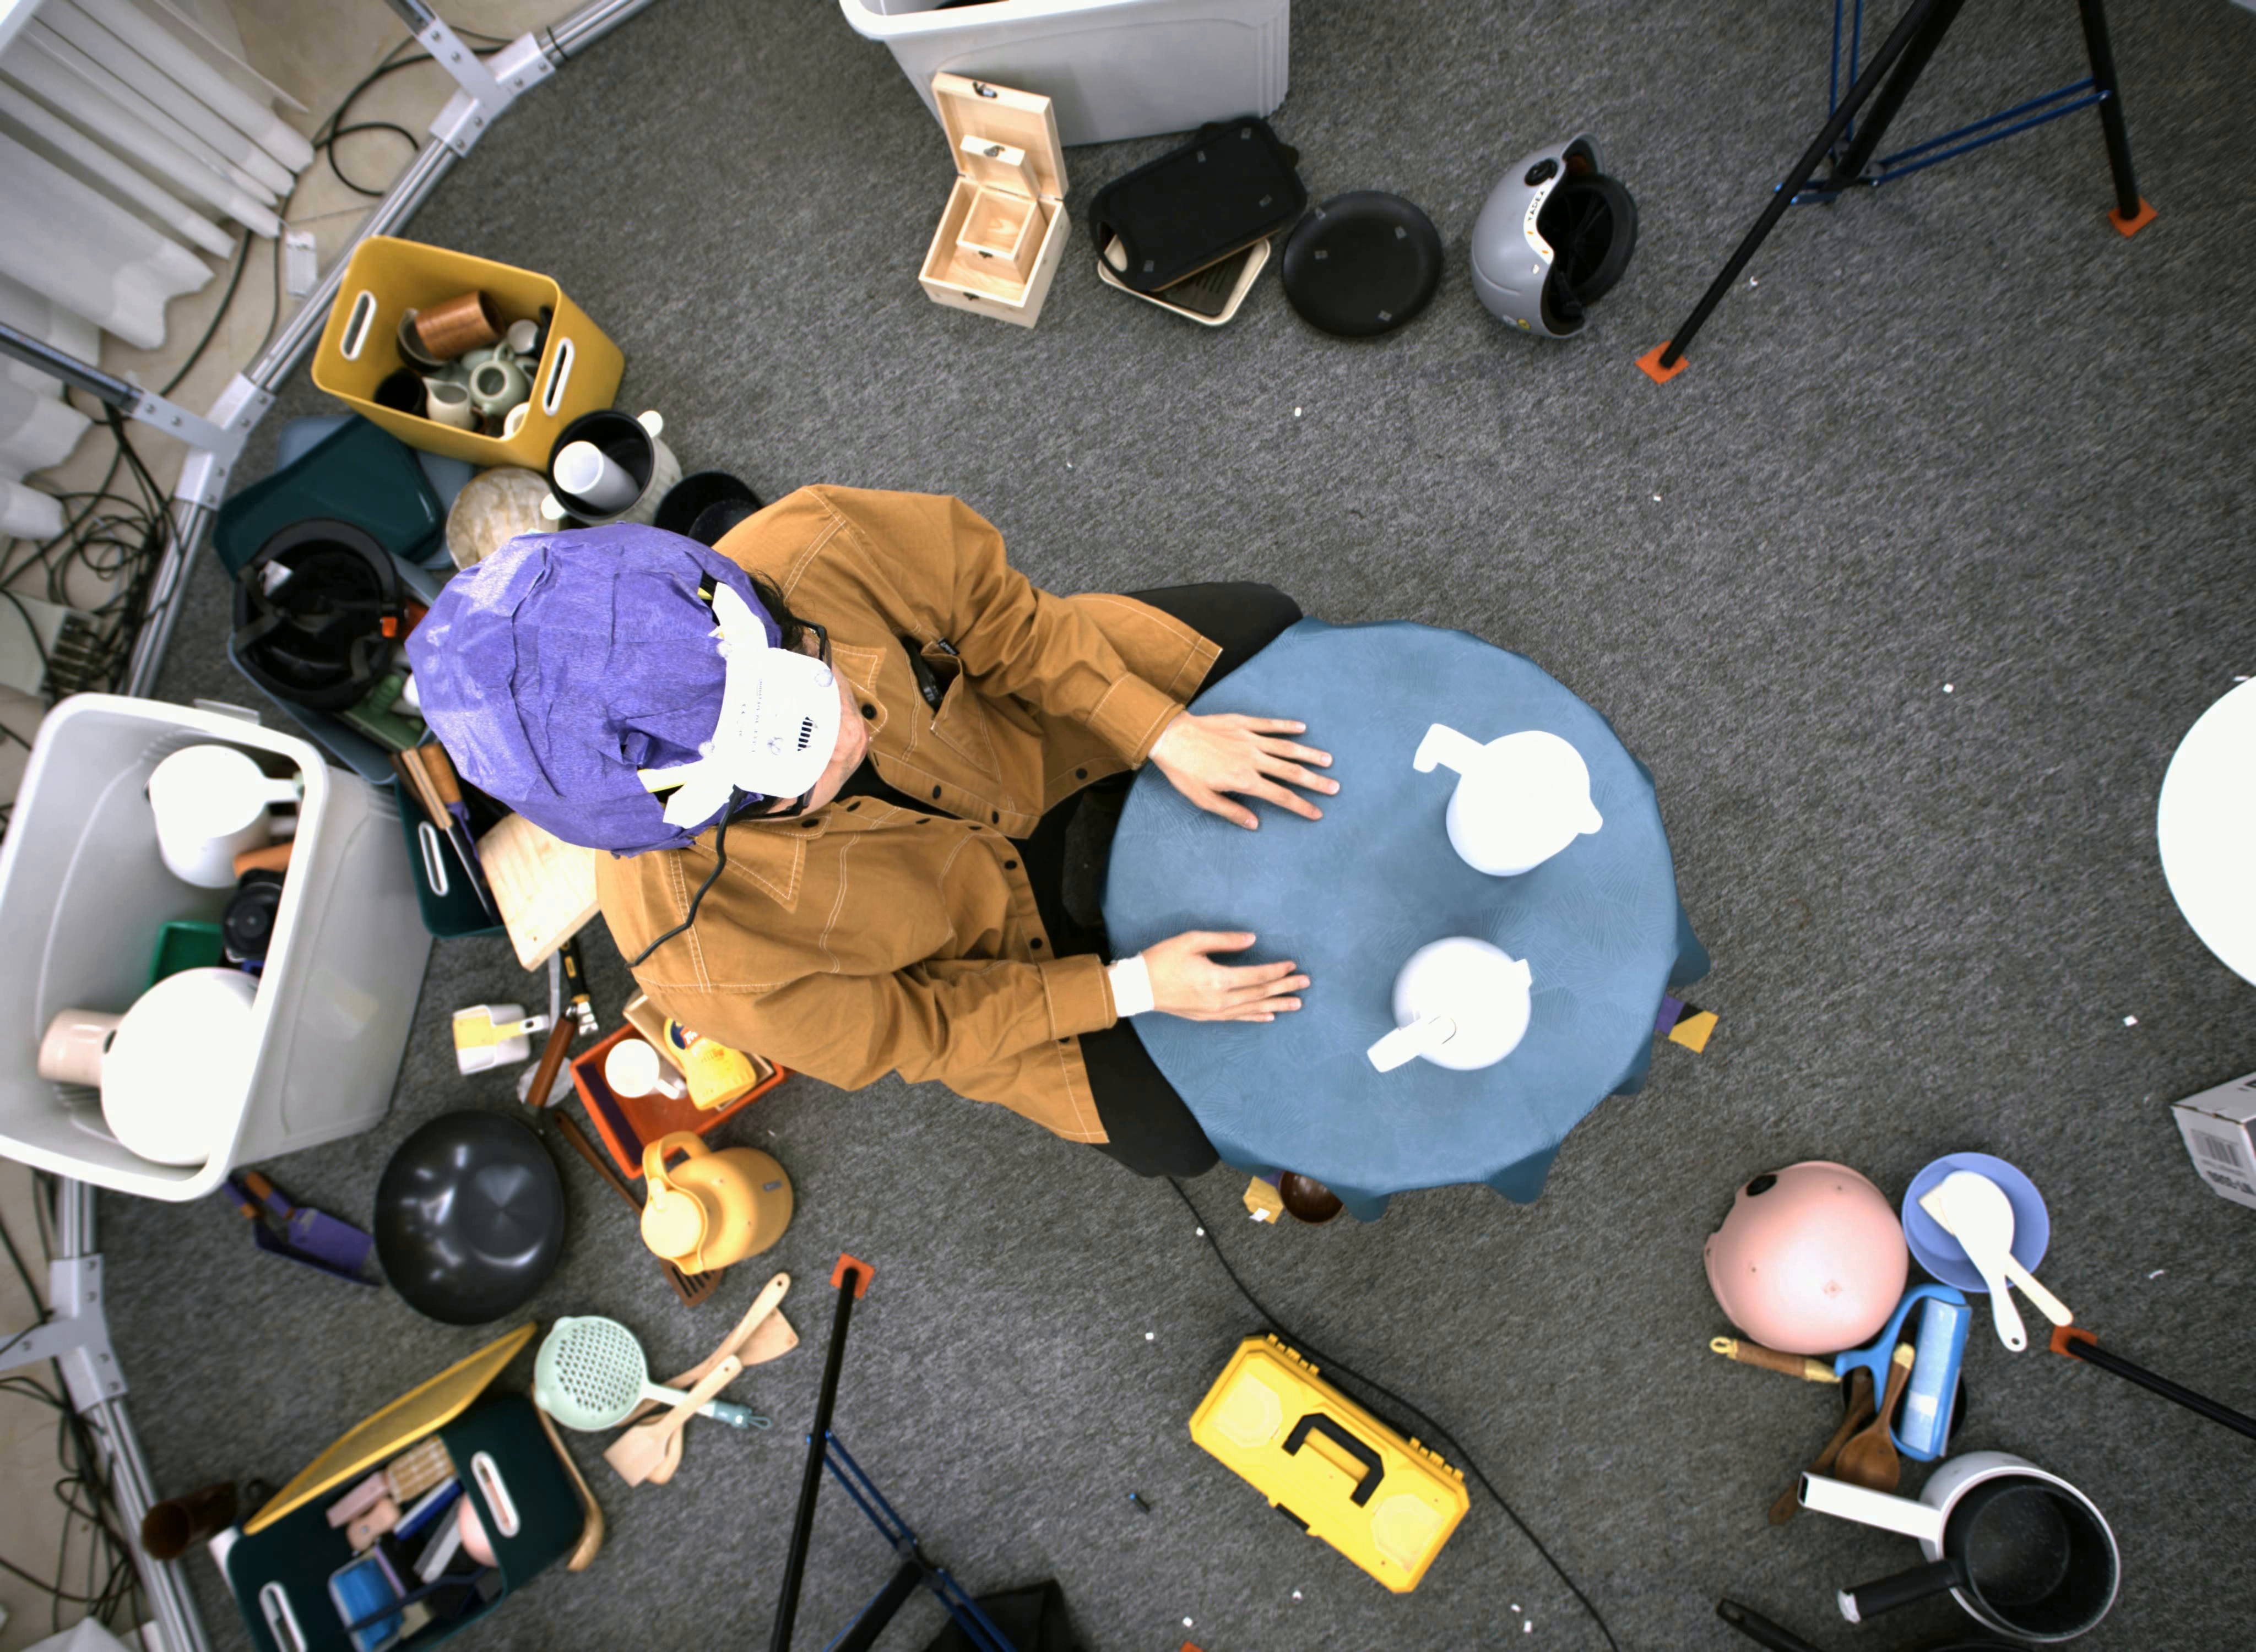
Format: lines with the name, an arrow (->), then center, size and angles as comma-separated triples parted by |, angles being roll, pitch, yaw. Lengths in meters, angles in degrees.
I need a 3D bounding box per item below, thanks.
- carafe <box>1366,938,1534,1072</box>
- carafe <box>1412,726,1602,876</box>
carafe -> 0.305, 0.181, 1.323 | 0.169, 0.249, 0.131 | -34, 80, 7
carafe -> 0.354, -0.027, 1.314 | 0.172, 0.268, 0.124 | 29, 92, 12
